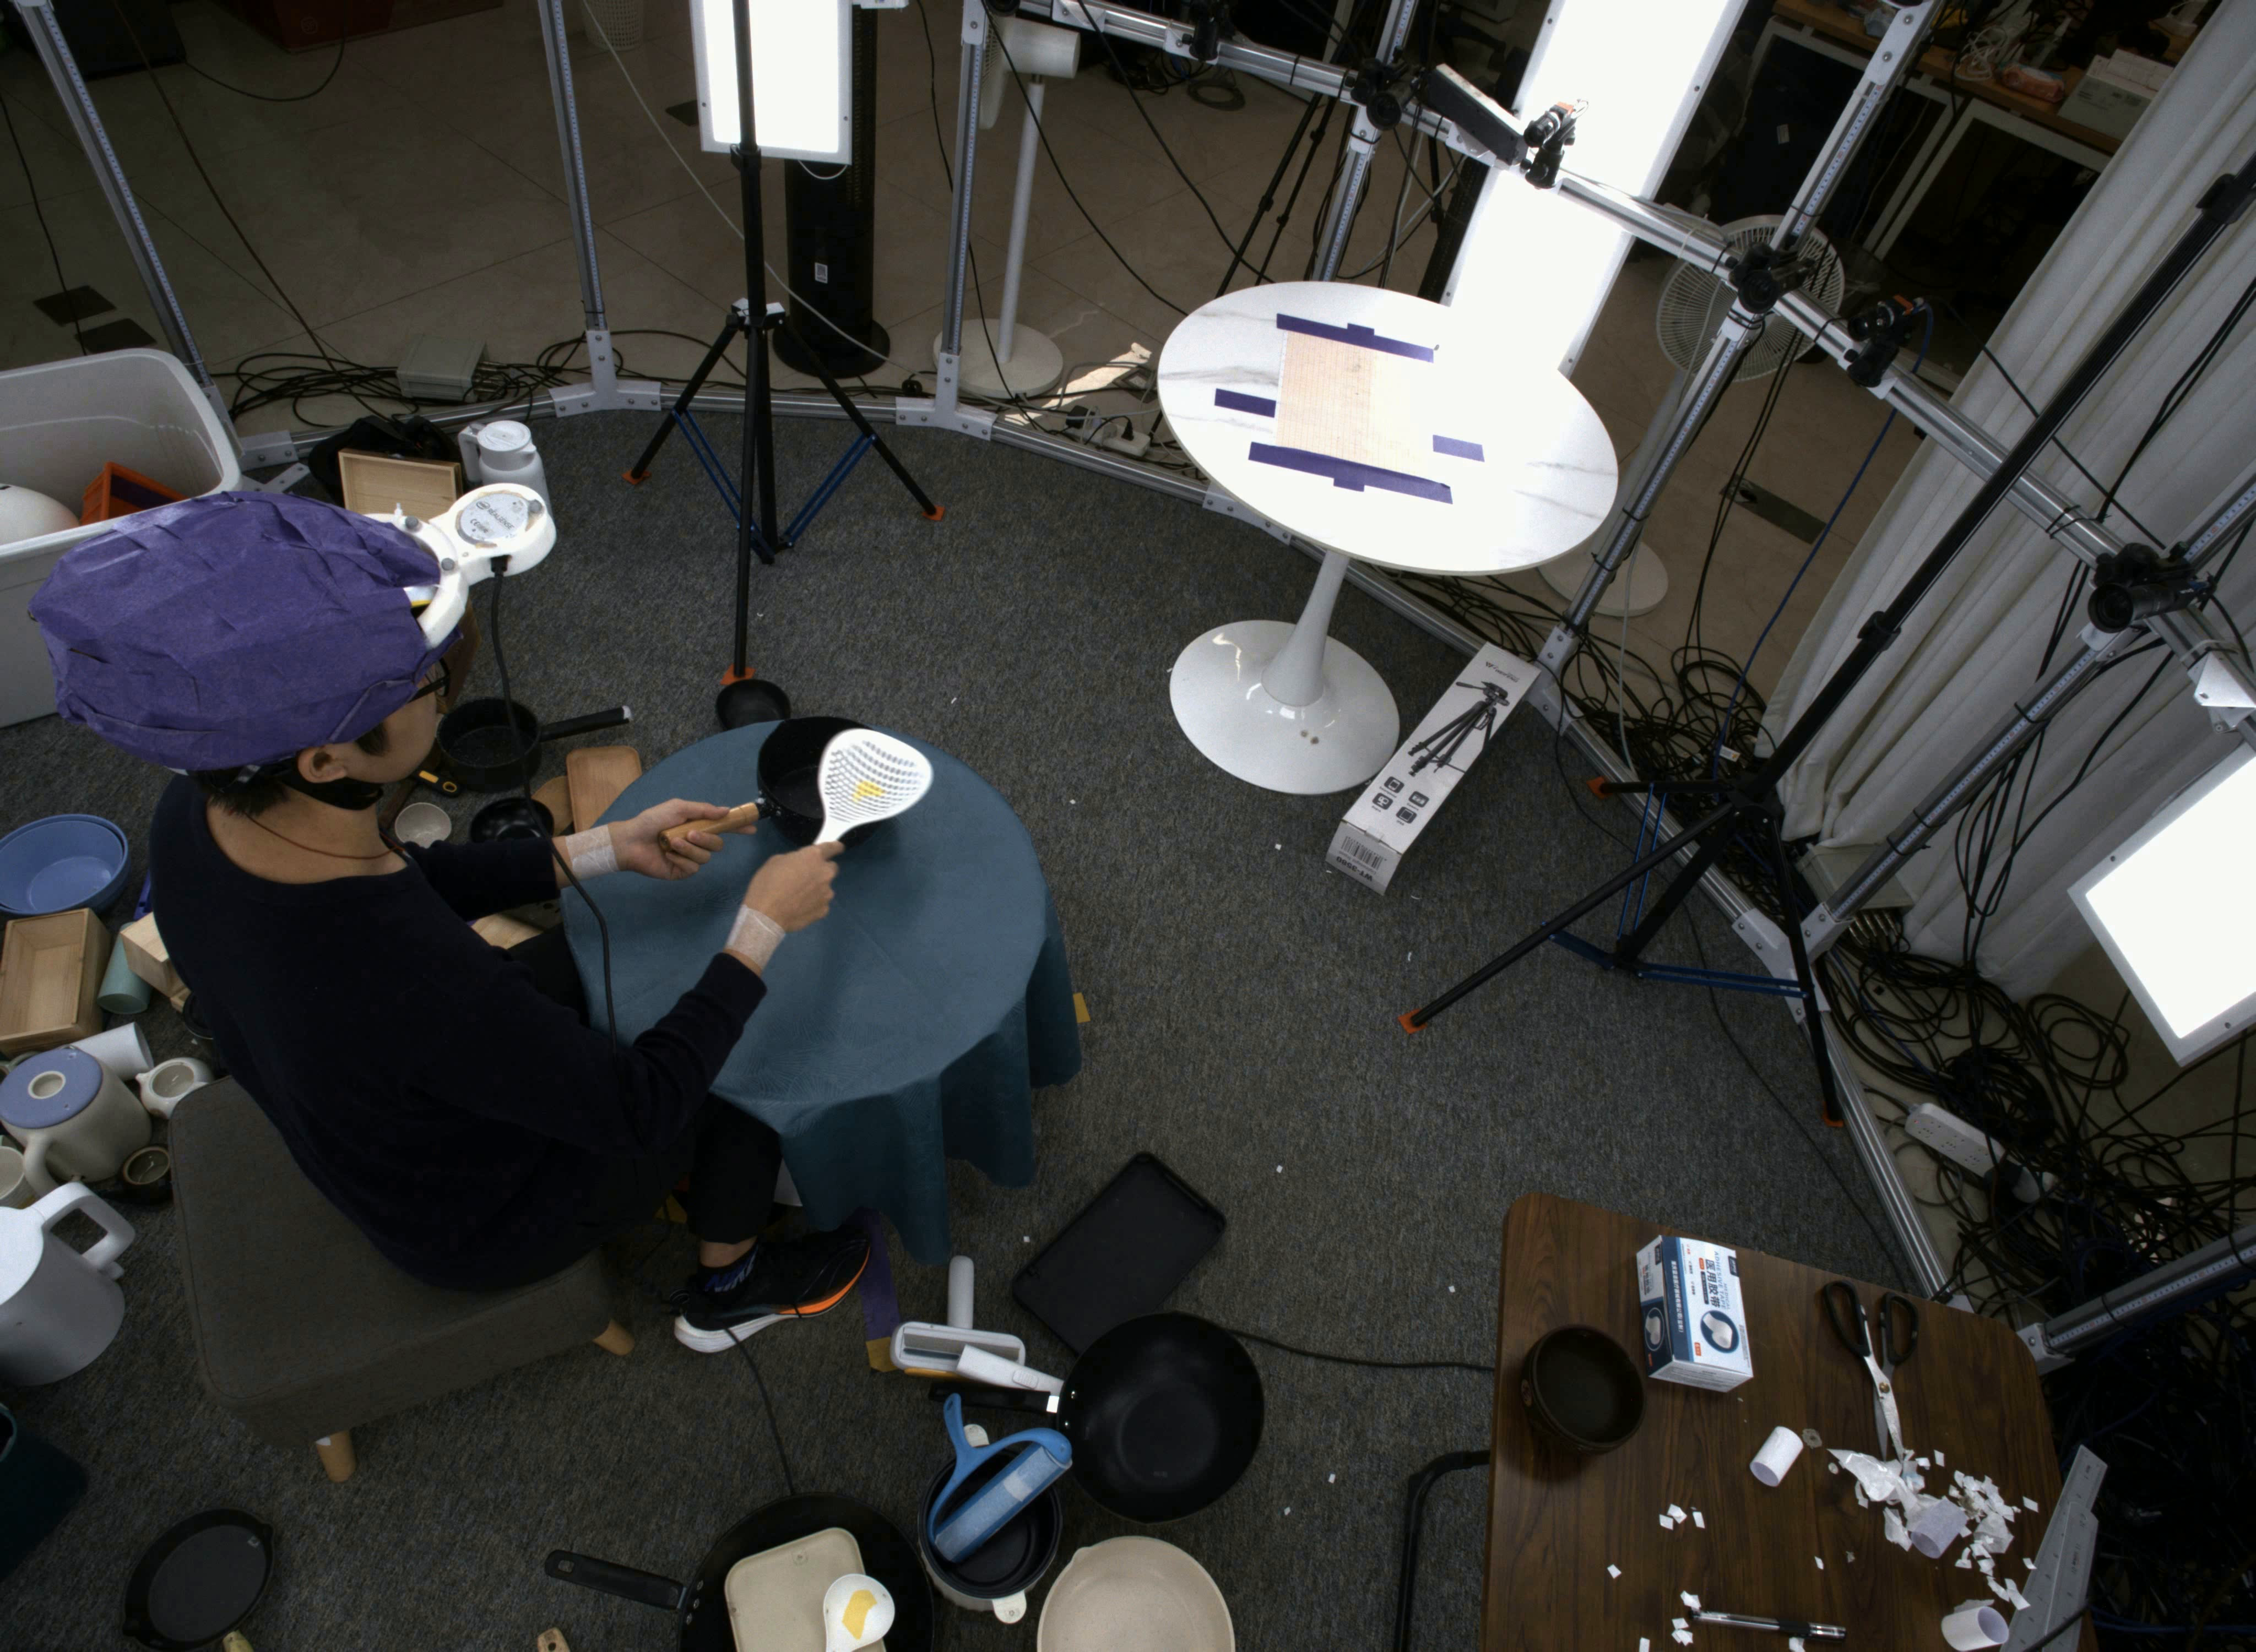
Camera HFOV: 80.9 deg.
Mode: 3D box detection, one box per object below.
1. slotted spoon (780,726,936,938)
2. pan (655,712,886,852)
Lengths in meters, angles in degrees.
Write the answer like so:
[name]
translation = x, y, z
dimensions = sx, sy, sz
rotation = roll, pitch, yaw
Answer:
[slotted spoon]
translation = -0.339, 0.001, 1.546
dimensions = 0.136, 0.051, 0.343
rotation = 26, 38, -4
[pan]
translation = -0.446, -0.025, 1.641
dimensions = 0.203, 0.110, 0.344
rotation = 42, 48, 16
